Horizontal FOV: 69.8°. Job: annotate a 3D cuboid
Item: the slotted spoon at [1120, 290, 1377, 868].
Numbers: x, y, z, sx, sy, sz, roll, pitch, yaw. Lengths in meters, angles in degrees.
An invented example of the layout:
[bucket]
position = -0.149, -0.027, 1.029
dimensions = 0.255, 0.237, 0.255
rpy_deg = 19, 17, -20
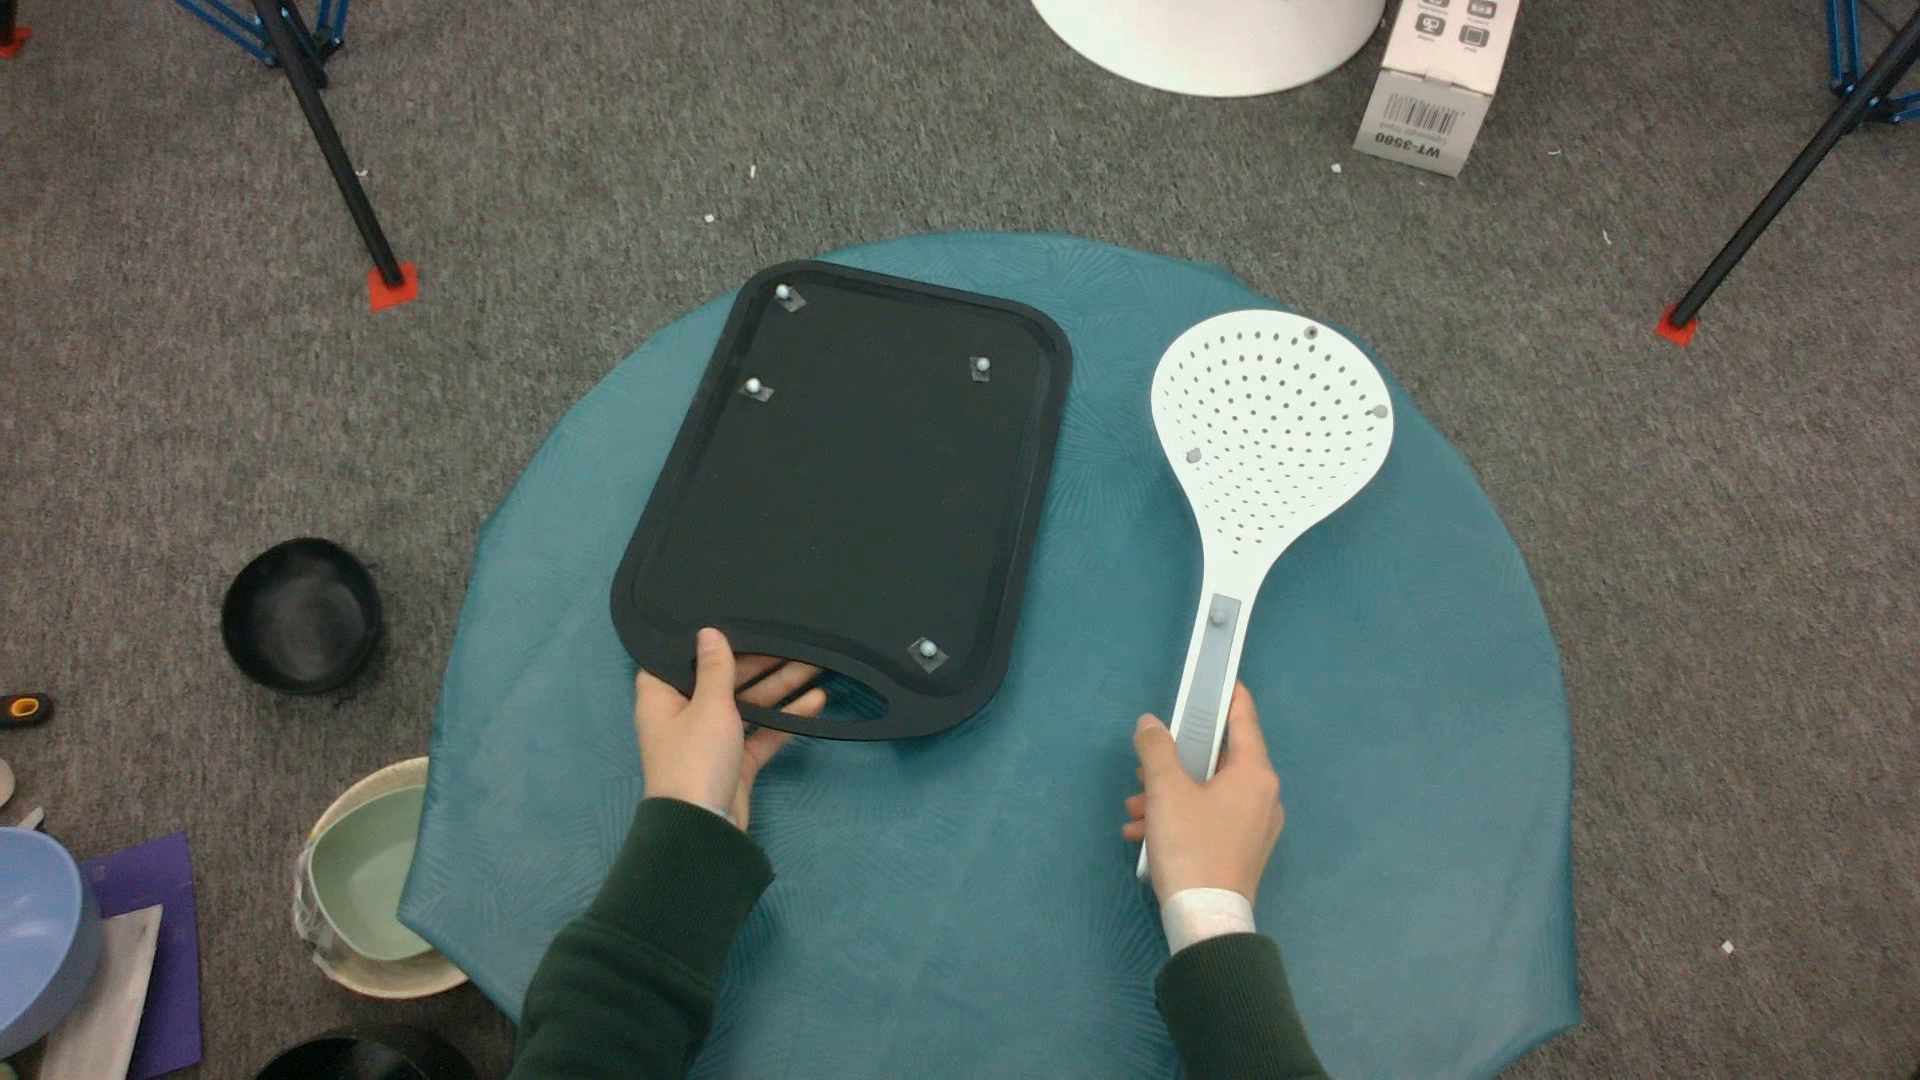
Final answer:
[slotted spoon]
position = 0.139, 0.007, 0.740
dimensions = 0.136, 0.045, 0.351
rpy_deg = 14, 58, 8

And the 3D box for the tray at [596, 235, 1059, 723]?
[tray]
position = -0.065, -0.046, 0.767
dimensions = 0.211, 0.010, 0.327
rpy_deg = 13, 56, 2
